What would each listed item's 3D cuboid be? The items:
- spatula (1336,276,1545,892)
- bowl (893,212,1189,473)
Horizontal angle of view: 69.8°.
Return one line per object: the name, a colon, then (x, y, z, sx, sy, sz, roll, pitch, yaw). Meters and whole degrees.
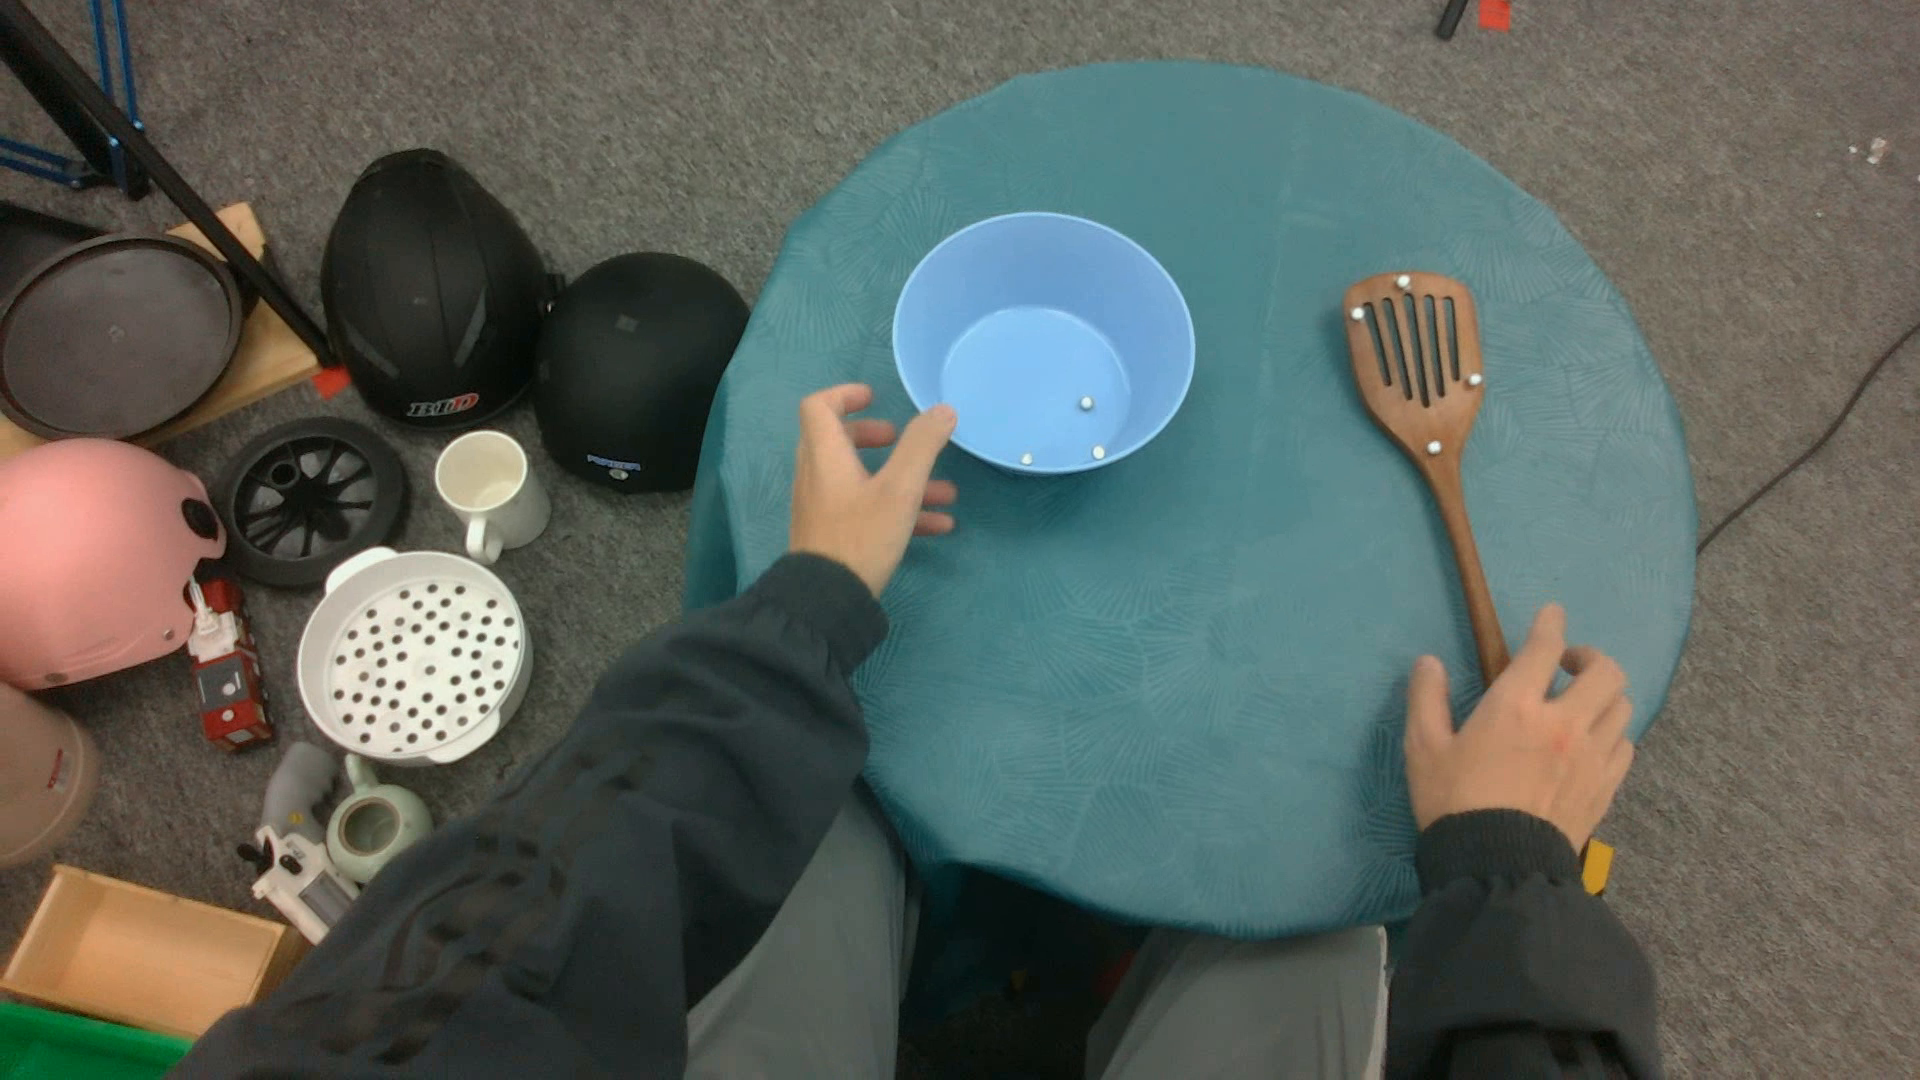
spatula: (0.295, 0.013, 0.824, 0.085, 0.024, 0.388, -3, 68, -4)
bowl: (0.047, -0.108, 0.838, 0.176, 0.070, 0.176, 1, 67, -2)
